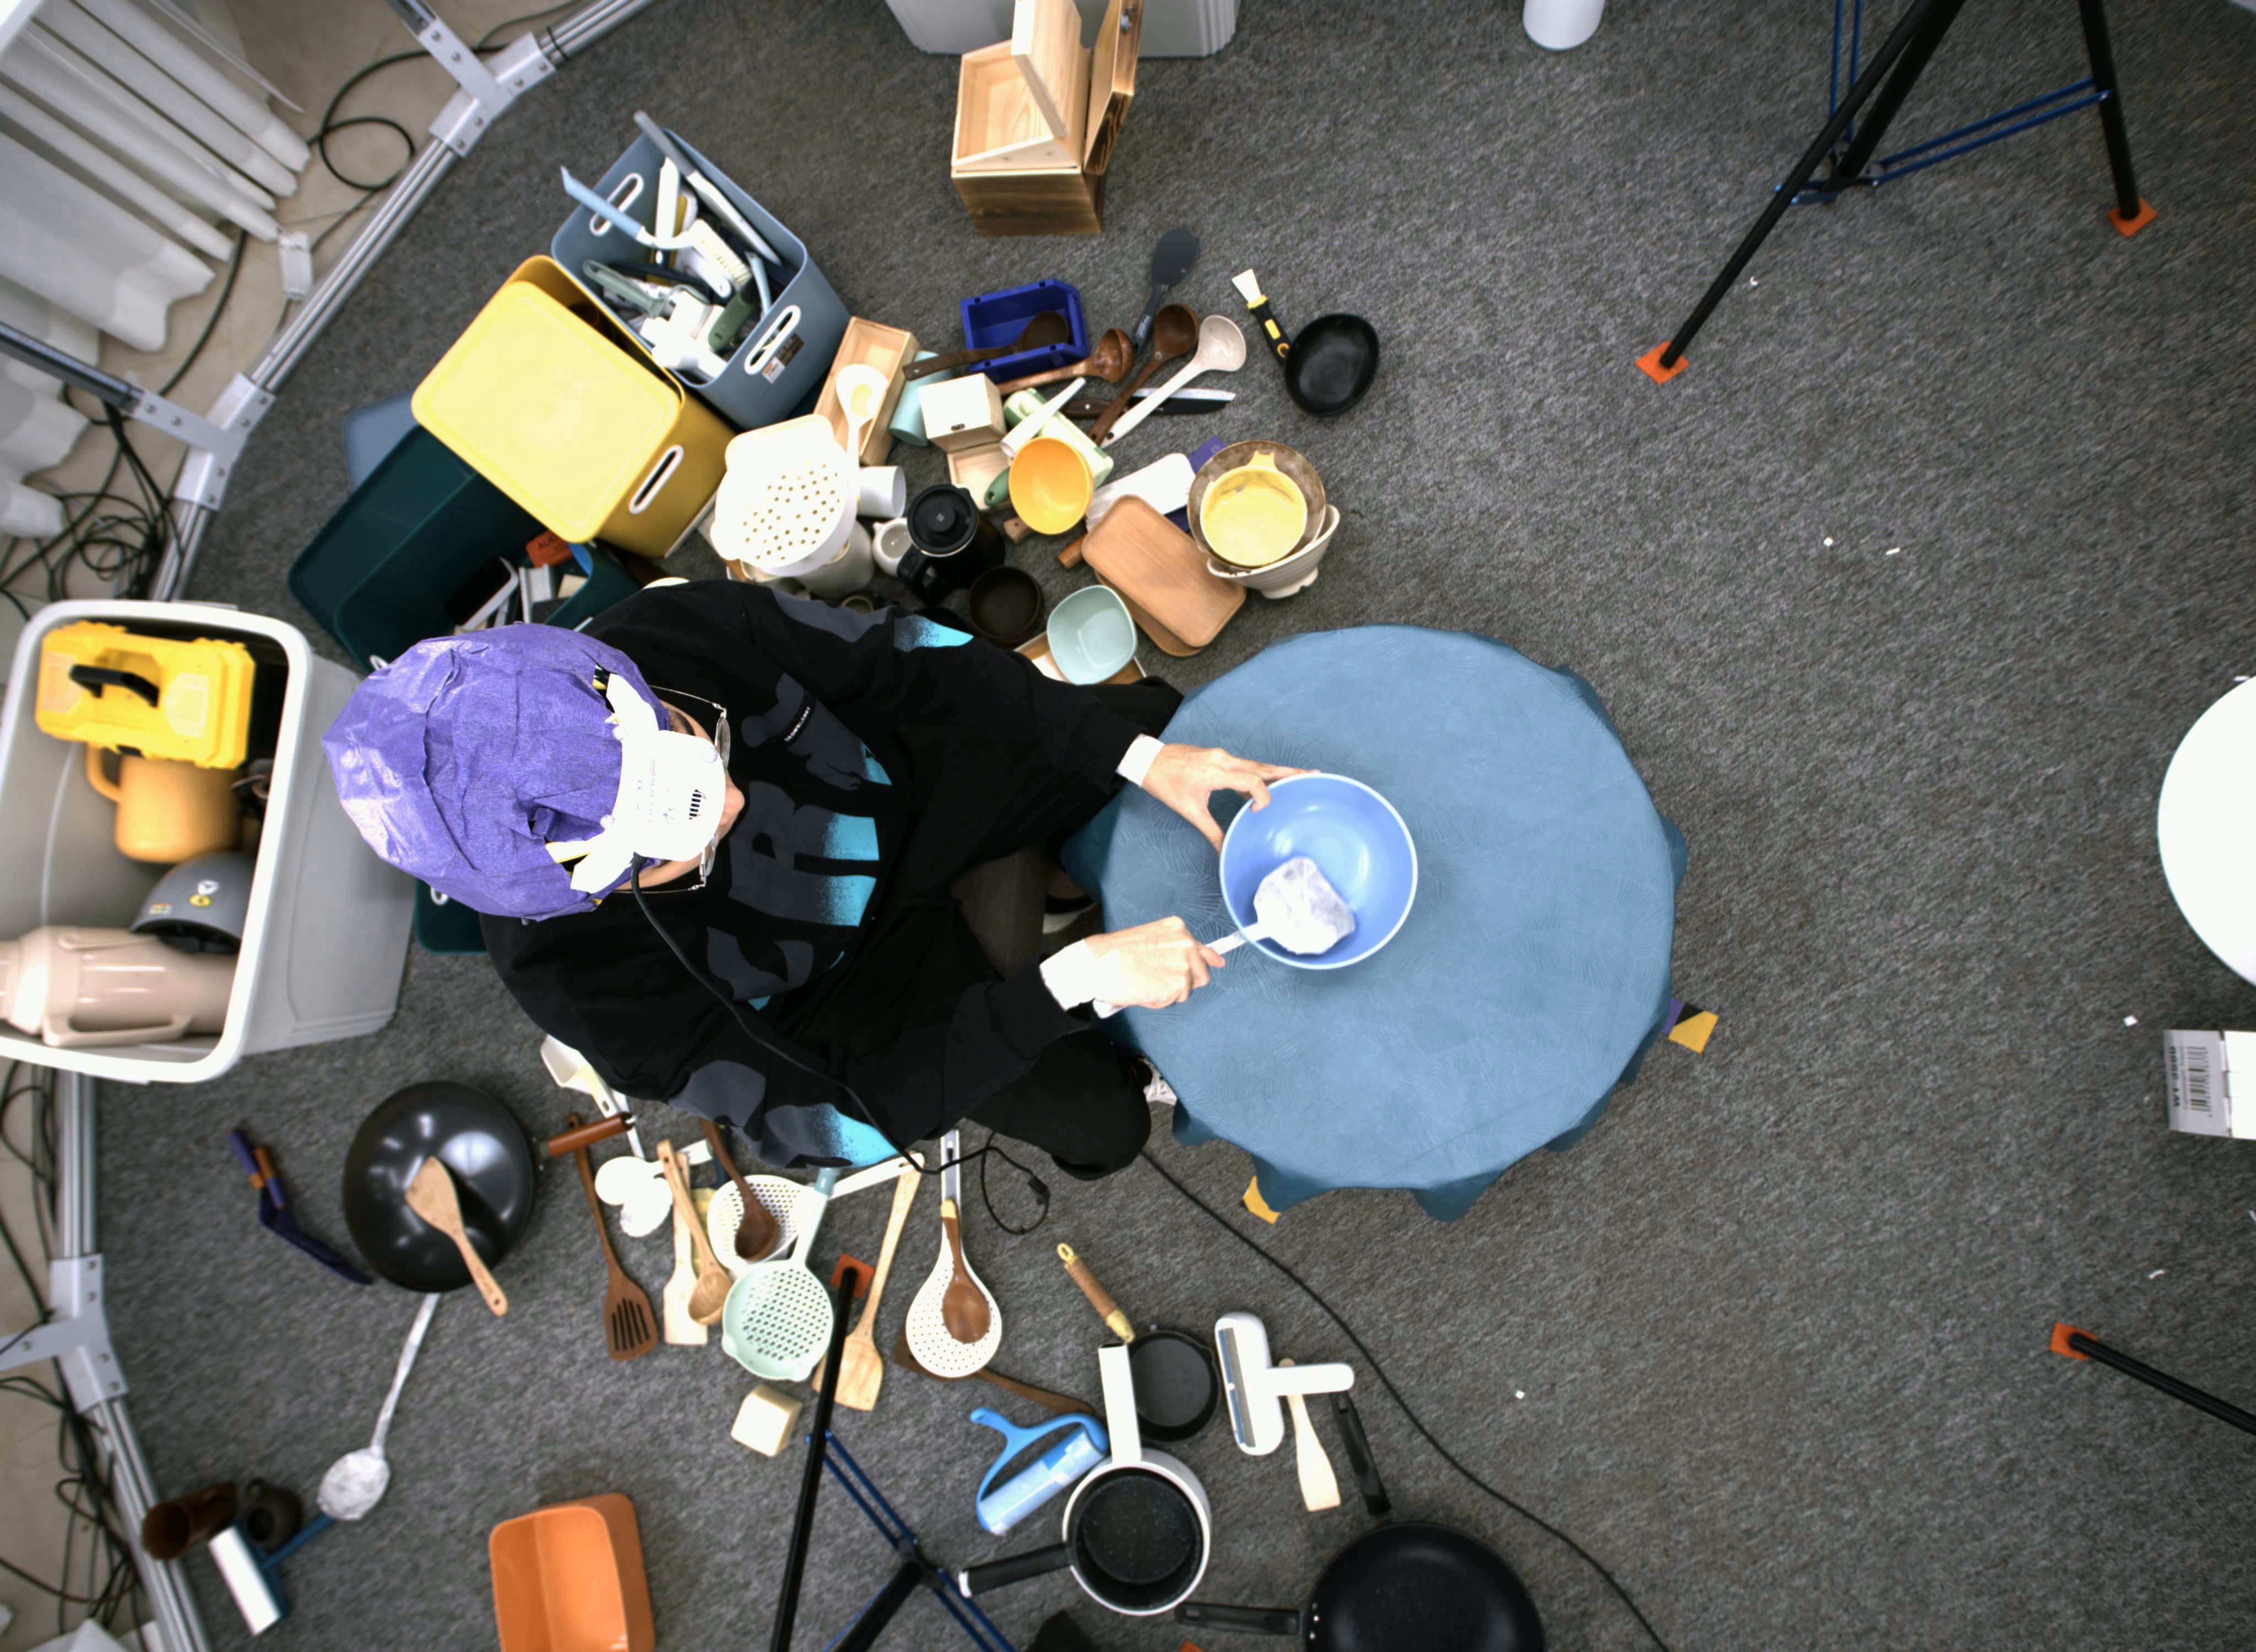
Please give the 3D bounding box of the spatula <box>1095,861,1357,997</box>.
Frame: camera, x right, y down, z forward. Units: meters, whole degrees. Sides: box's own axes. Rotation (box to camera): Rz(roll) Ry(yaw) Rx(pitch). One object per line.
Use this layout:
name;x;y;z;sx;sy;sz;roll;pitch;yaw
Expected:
spatula;0.099;0.108;1.319;0.046;0.360;0.098;-44;72;35

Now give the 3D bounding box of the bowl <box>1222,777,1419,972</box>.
bowl;0.199;0.044;1.423;0.197;0.094;0.198;1;98;11
